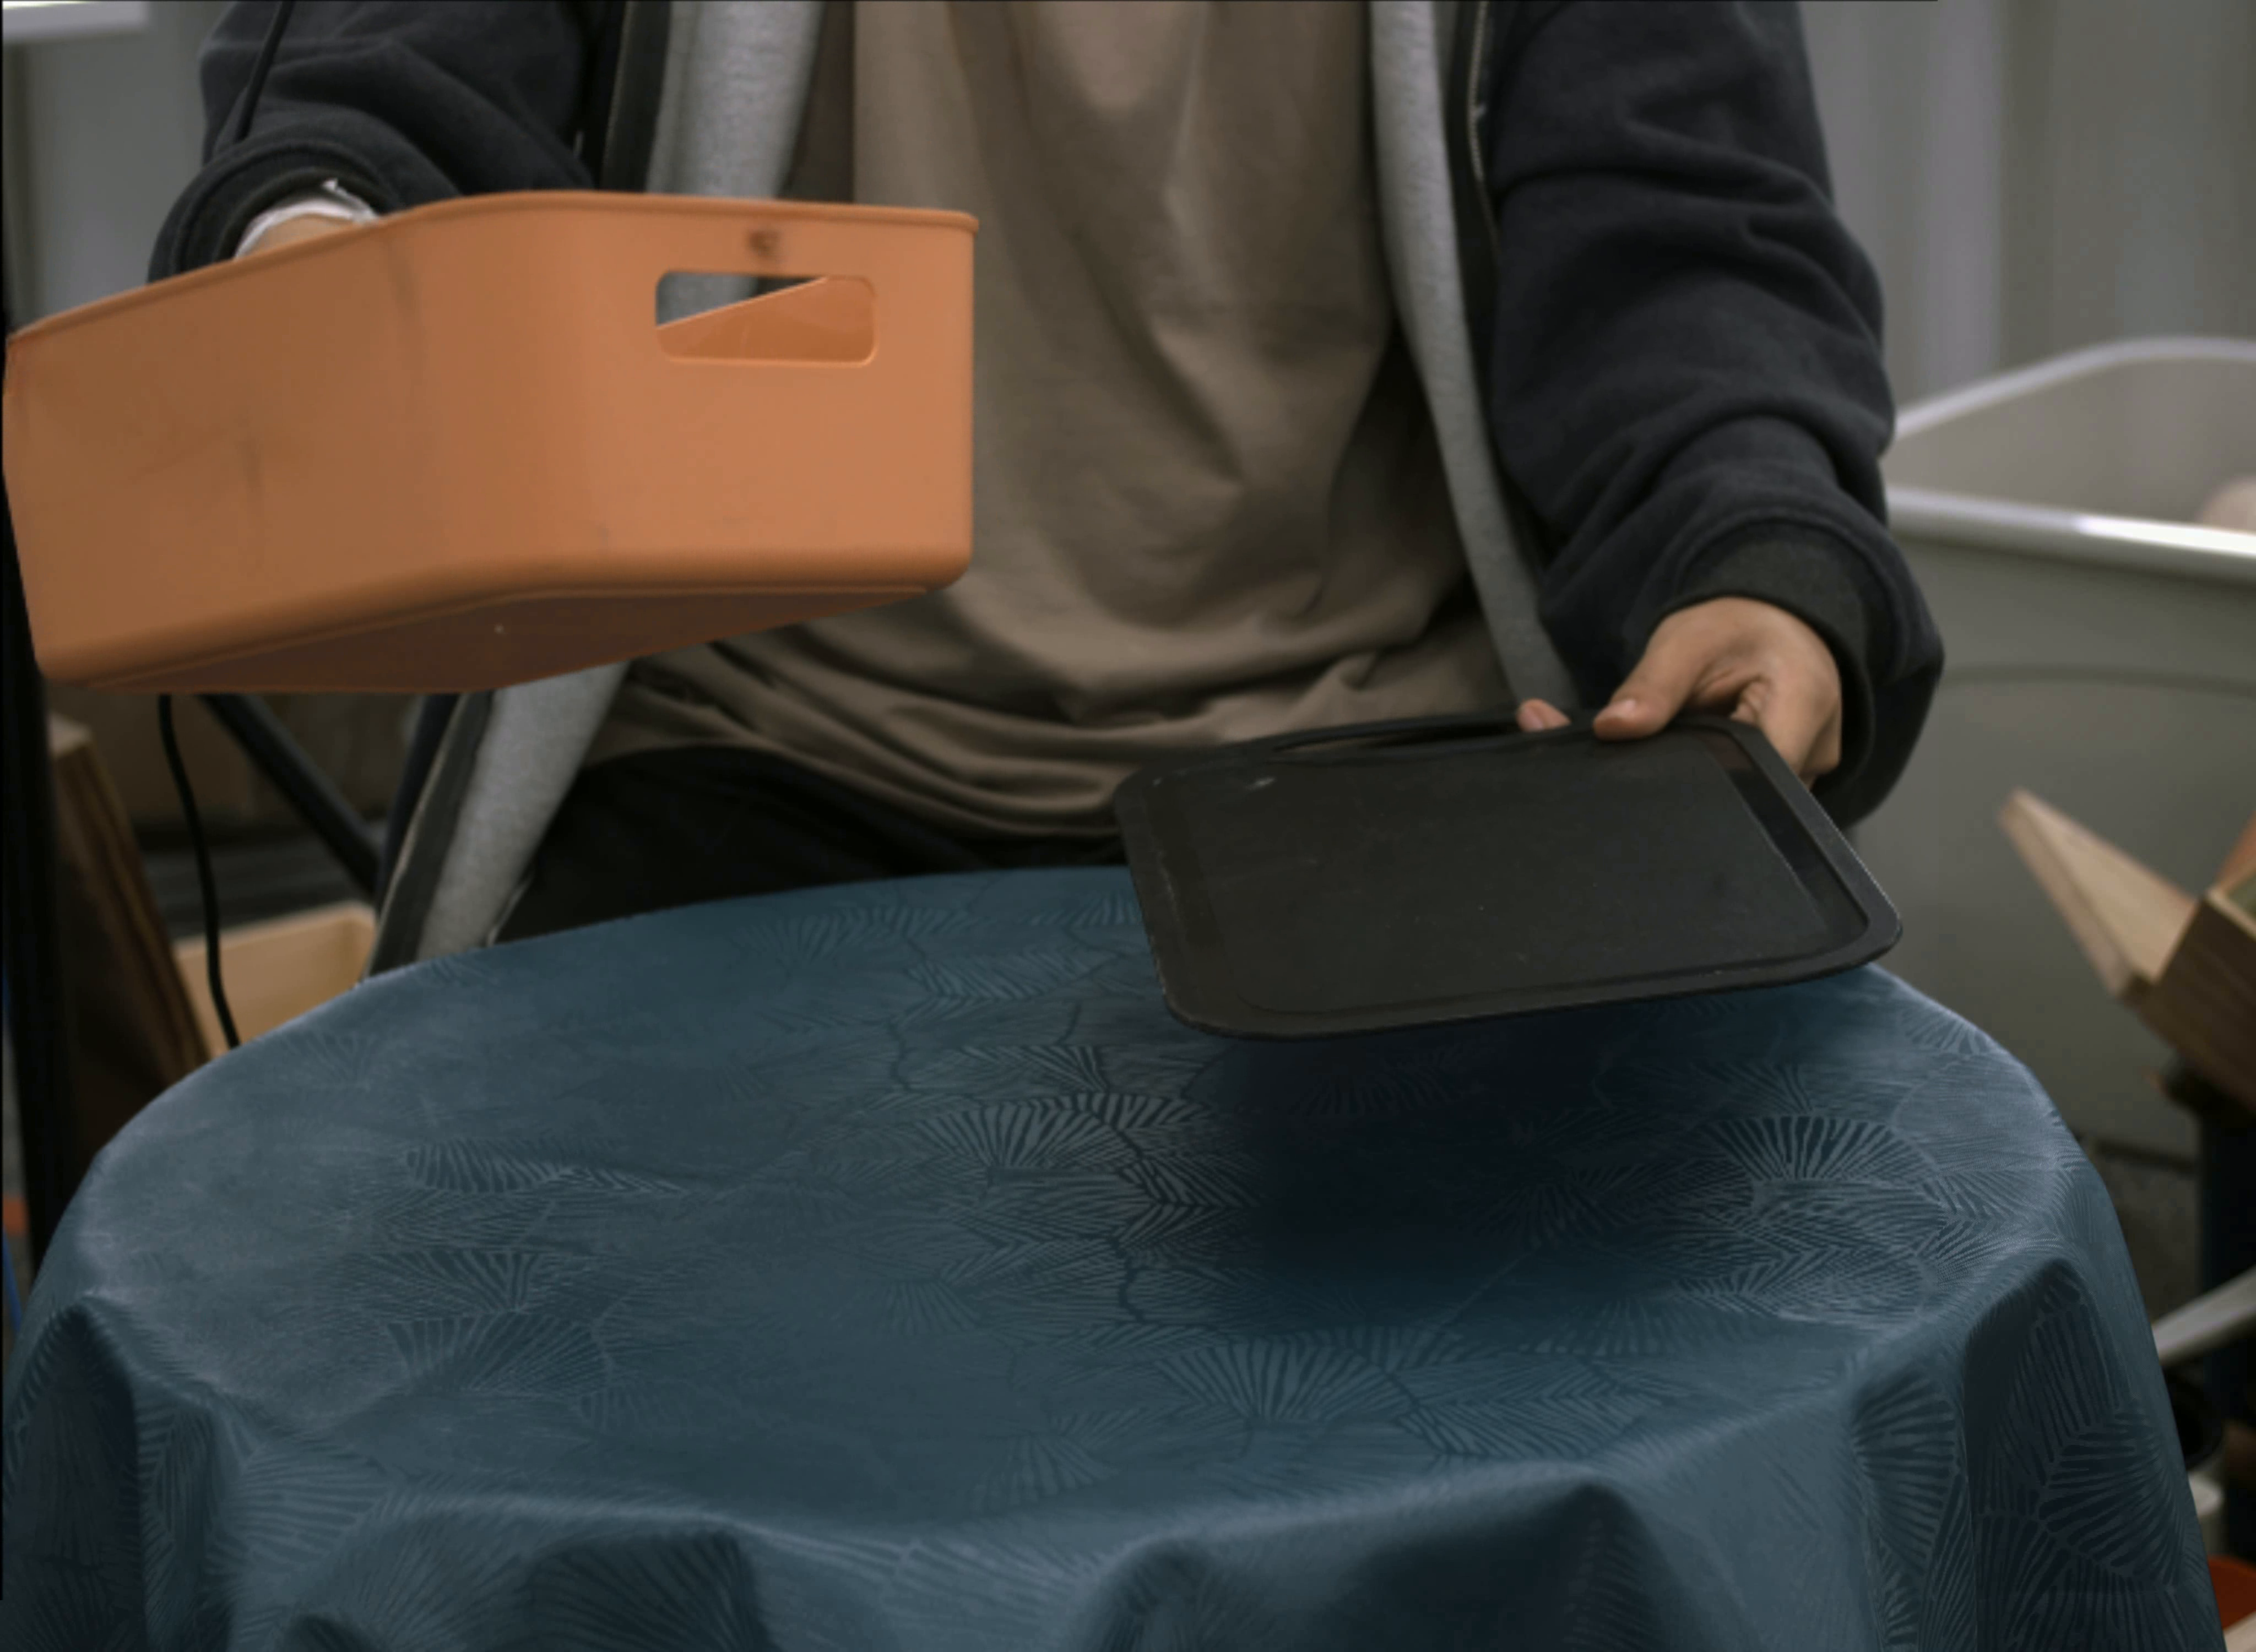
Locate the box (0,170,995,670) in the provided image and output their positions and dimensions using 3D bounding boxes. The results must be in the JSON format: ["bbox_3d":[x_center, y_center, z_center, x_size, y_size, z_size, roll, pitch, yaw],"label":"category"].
[{"bbox_3d":[-0.175,-0.106,1.491,0.194,0.103,0.279,-3,-3,-42],"label":"box"}]

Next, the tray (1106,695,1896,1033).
[{"bbox_3d":[0.103,0.005,1.604,0.210,0.010,0.327,-7,16,-2],"label":"tray"}]
